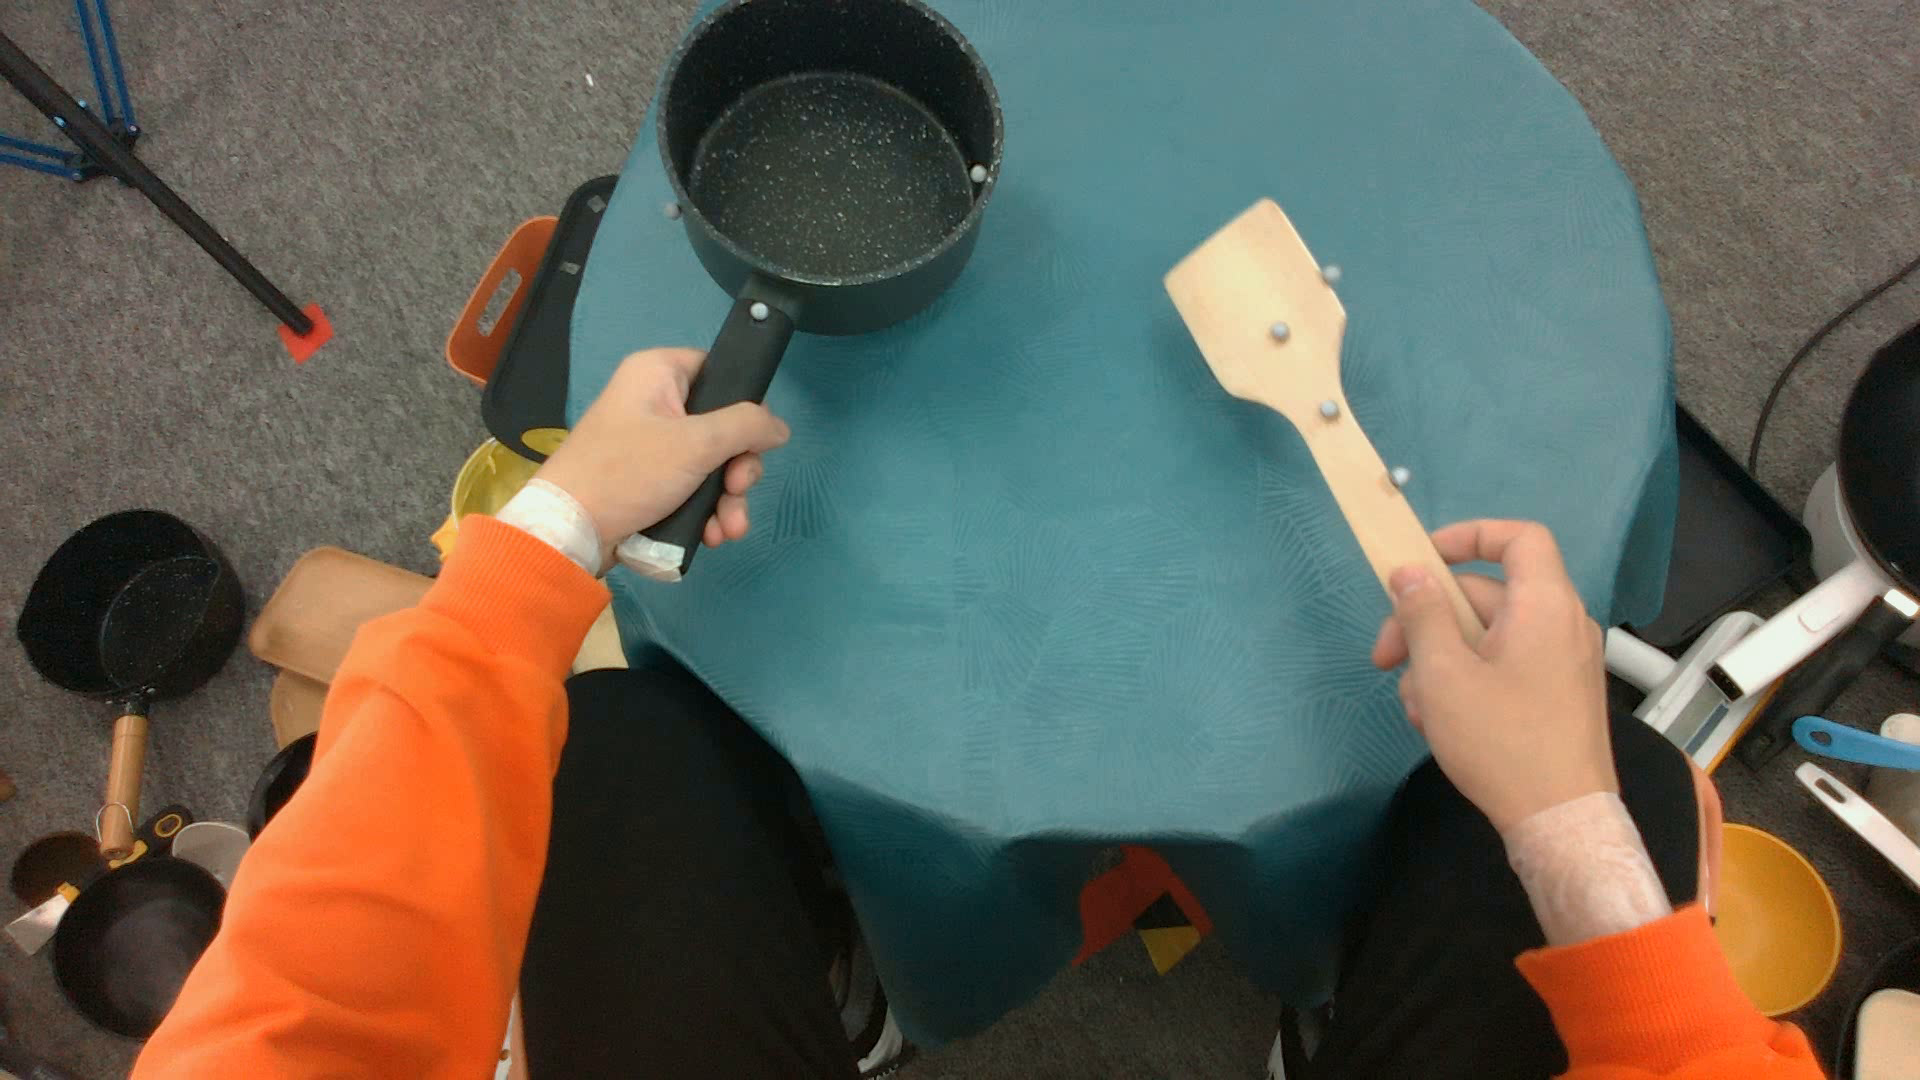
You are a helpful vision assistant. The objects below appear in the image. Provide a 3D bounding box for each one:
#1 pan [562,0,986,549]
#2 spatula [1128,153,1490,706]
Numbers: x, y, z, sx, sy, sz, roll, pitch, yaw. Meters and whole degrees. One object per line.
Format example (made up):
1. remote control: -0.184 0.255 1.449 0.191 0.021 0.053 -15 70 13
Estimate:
1. pan: -0.103 -0.135 0.689 0.172 0.086 0.330 21 71 2
2. spatula: 0.161 -0.056 0.632 0.072 0.010 0.294 -35 60 25
